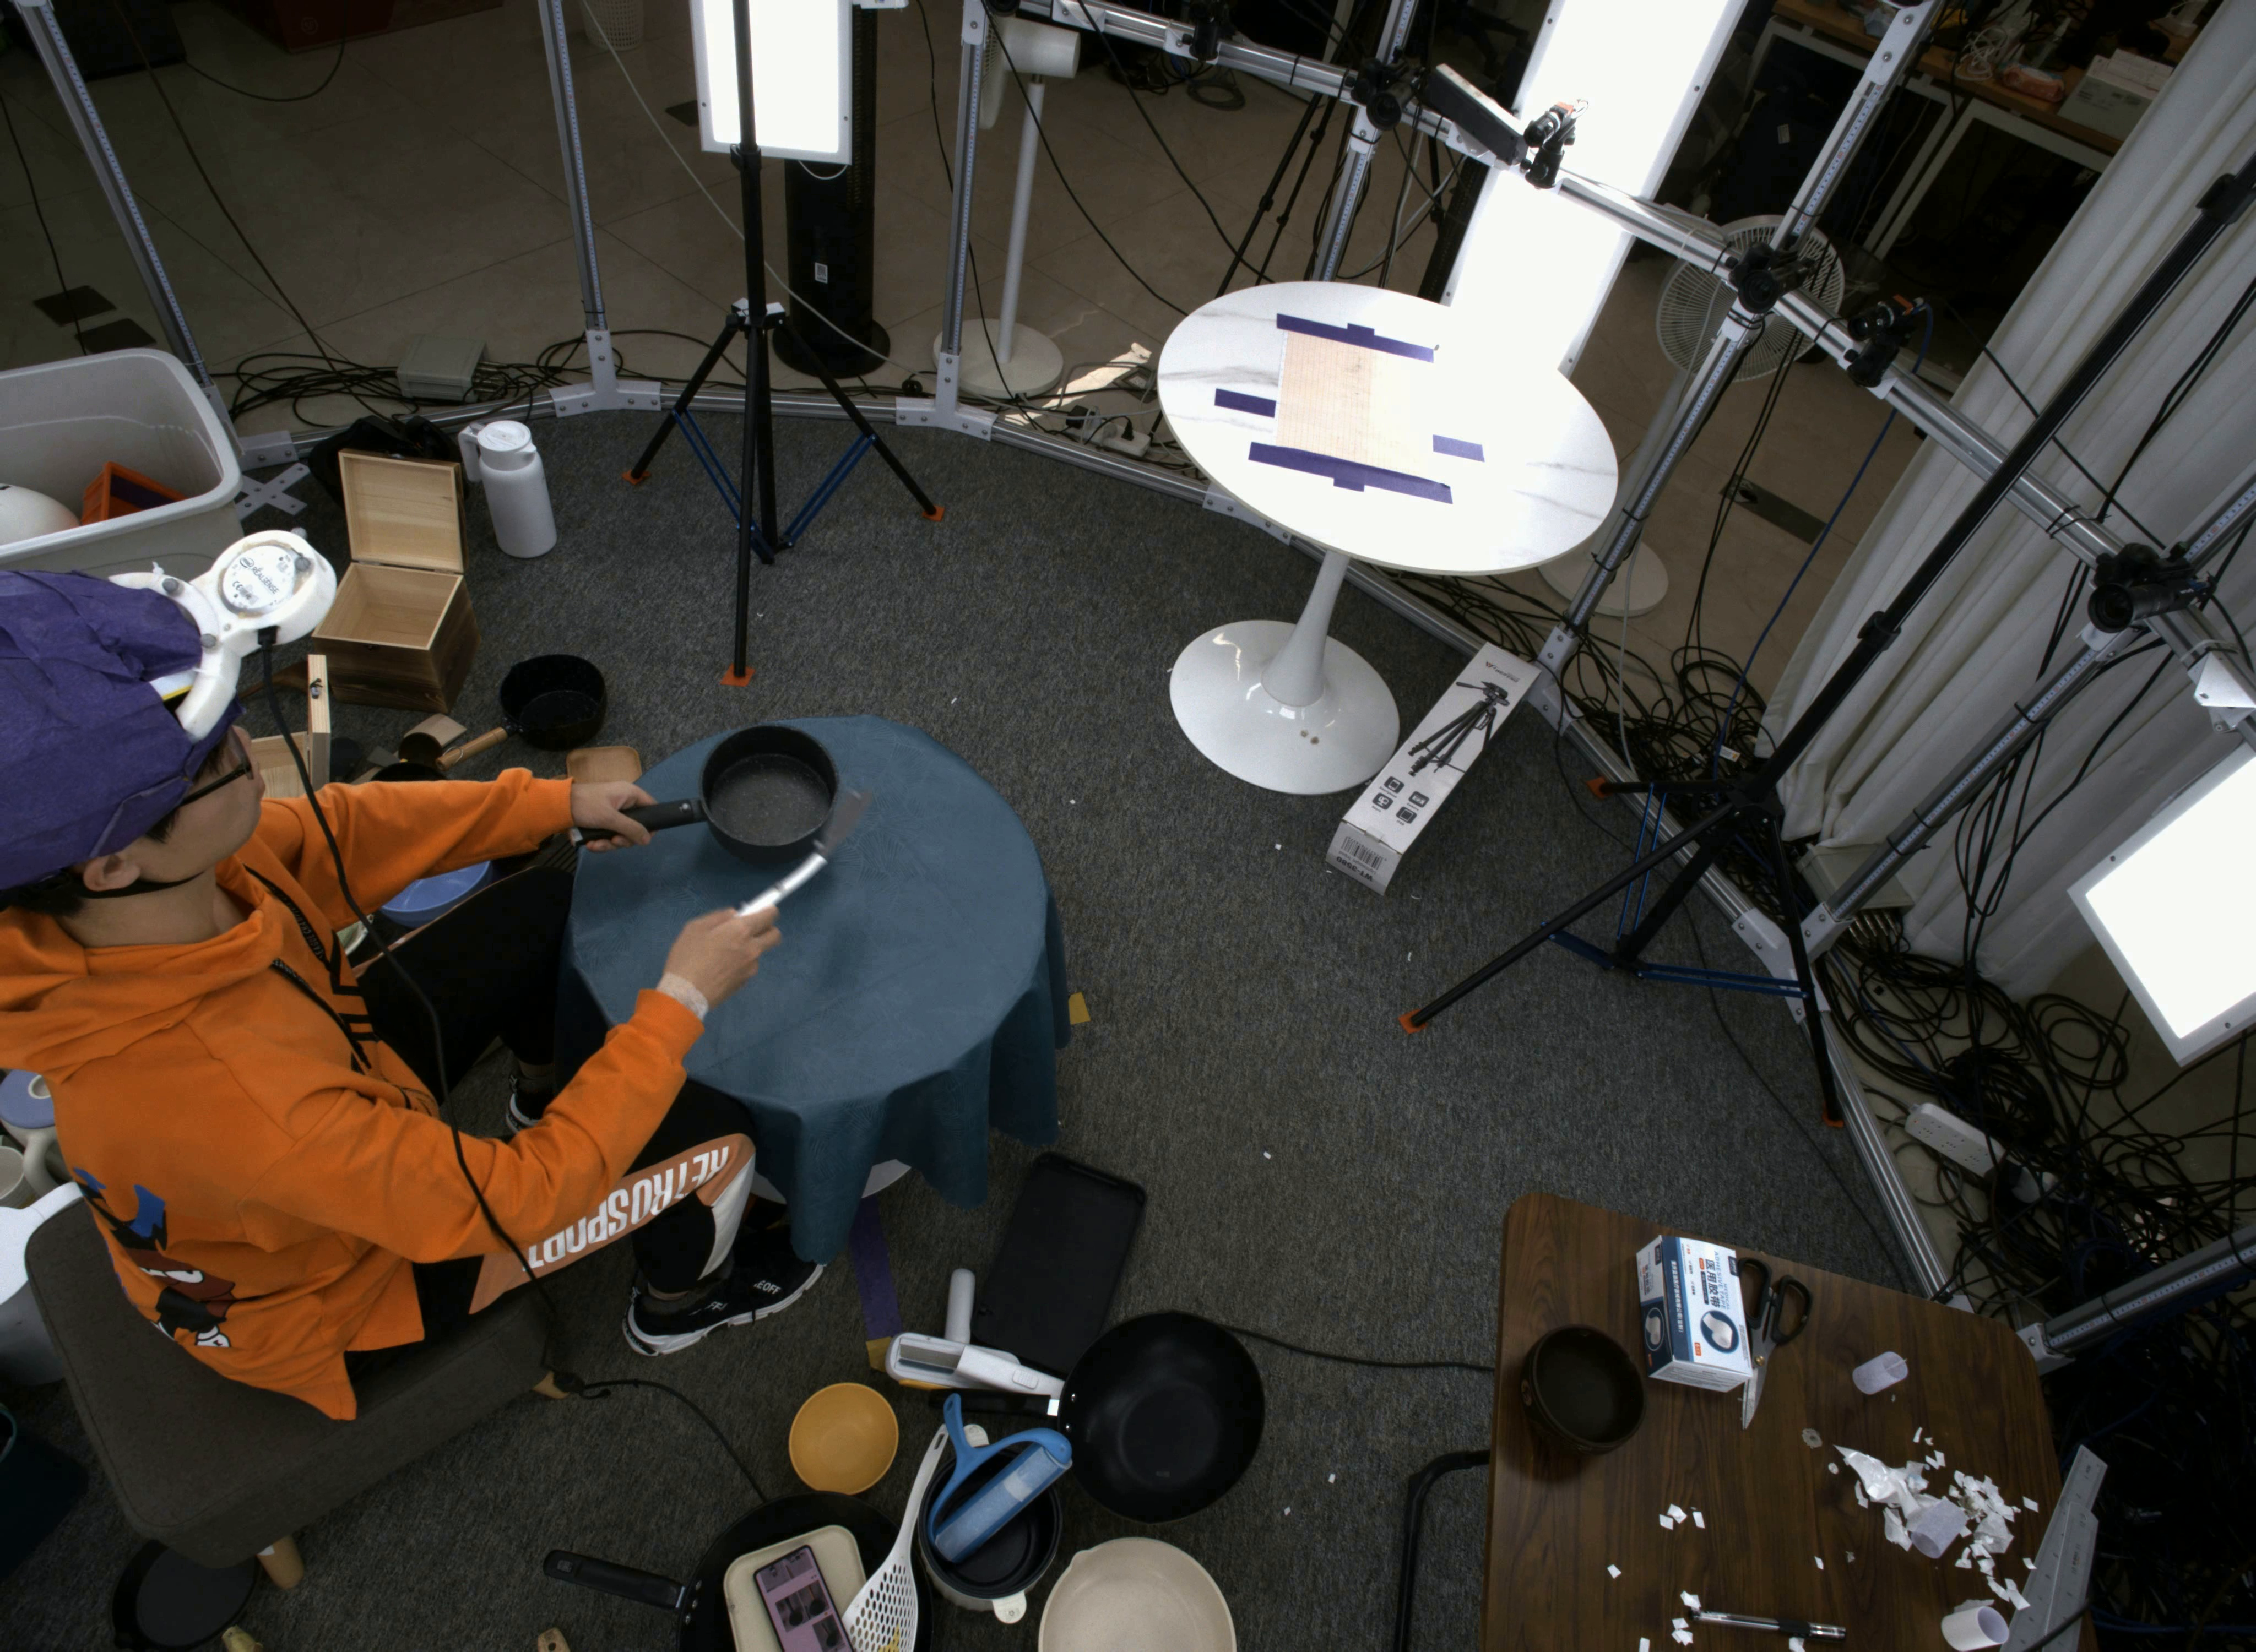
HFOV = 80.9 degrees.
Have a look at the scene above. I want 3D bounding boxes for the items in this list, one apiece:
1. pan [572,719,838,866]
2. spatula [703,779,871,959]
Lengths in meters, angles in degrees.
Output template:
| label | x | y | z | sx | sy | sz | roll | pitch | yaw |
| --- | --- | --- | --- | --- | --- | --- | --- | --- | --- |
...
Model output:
| label | x | y | z | sx | sy | sz | roll | pitch | yaw |
| --- | --- | --- | --- | --- | --- | --- | --- | --- | --- |
| pan | -0.524 | -0.023 | 1.595 | 0.330 | 0.087 | 0.170 | -13 | 70 | -23 |
| spatula | -0.381 | 0.040 | 1.465 | 0.057 | 0.033 | 0.286 | -4 | 36 | 34 |
